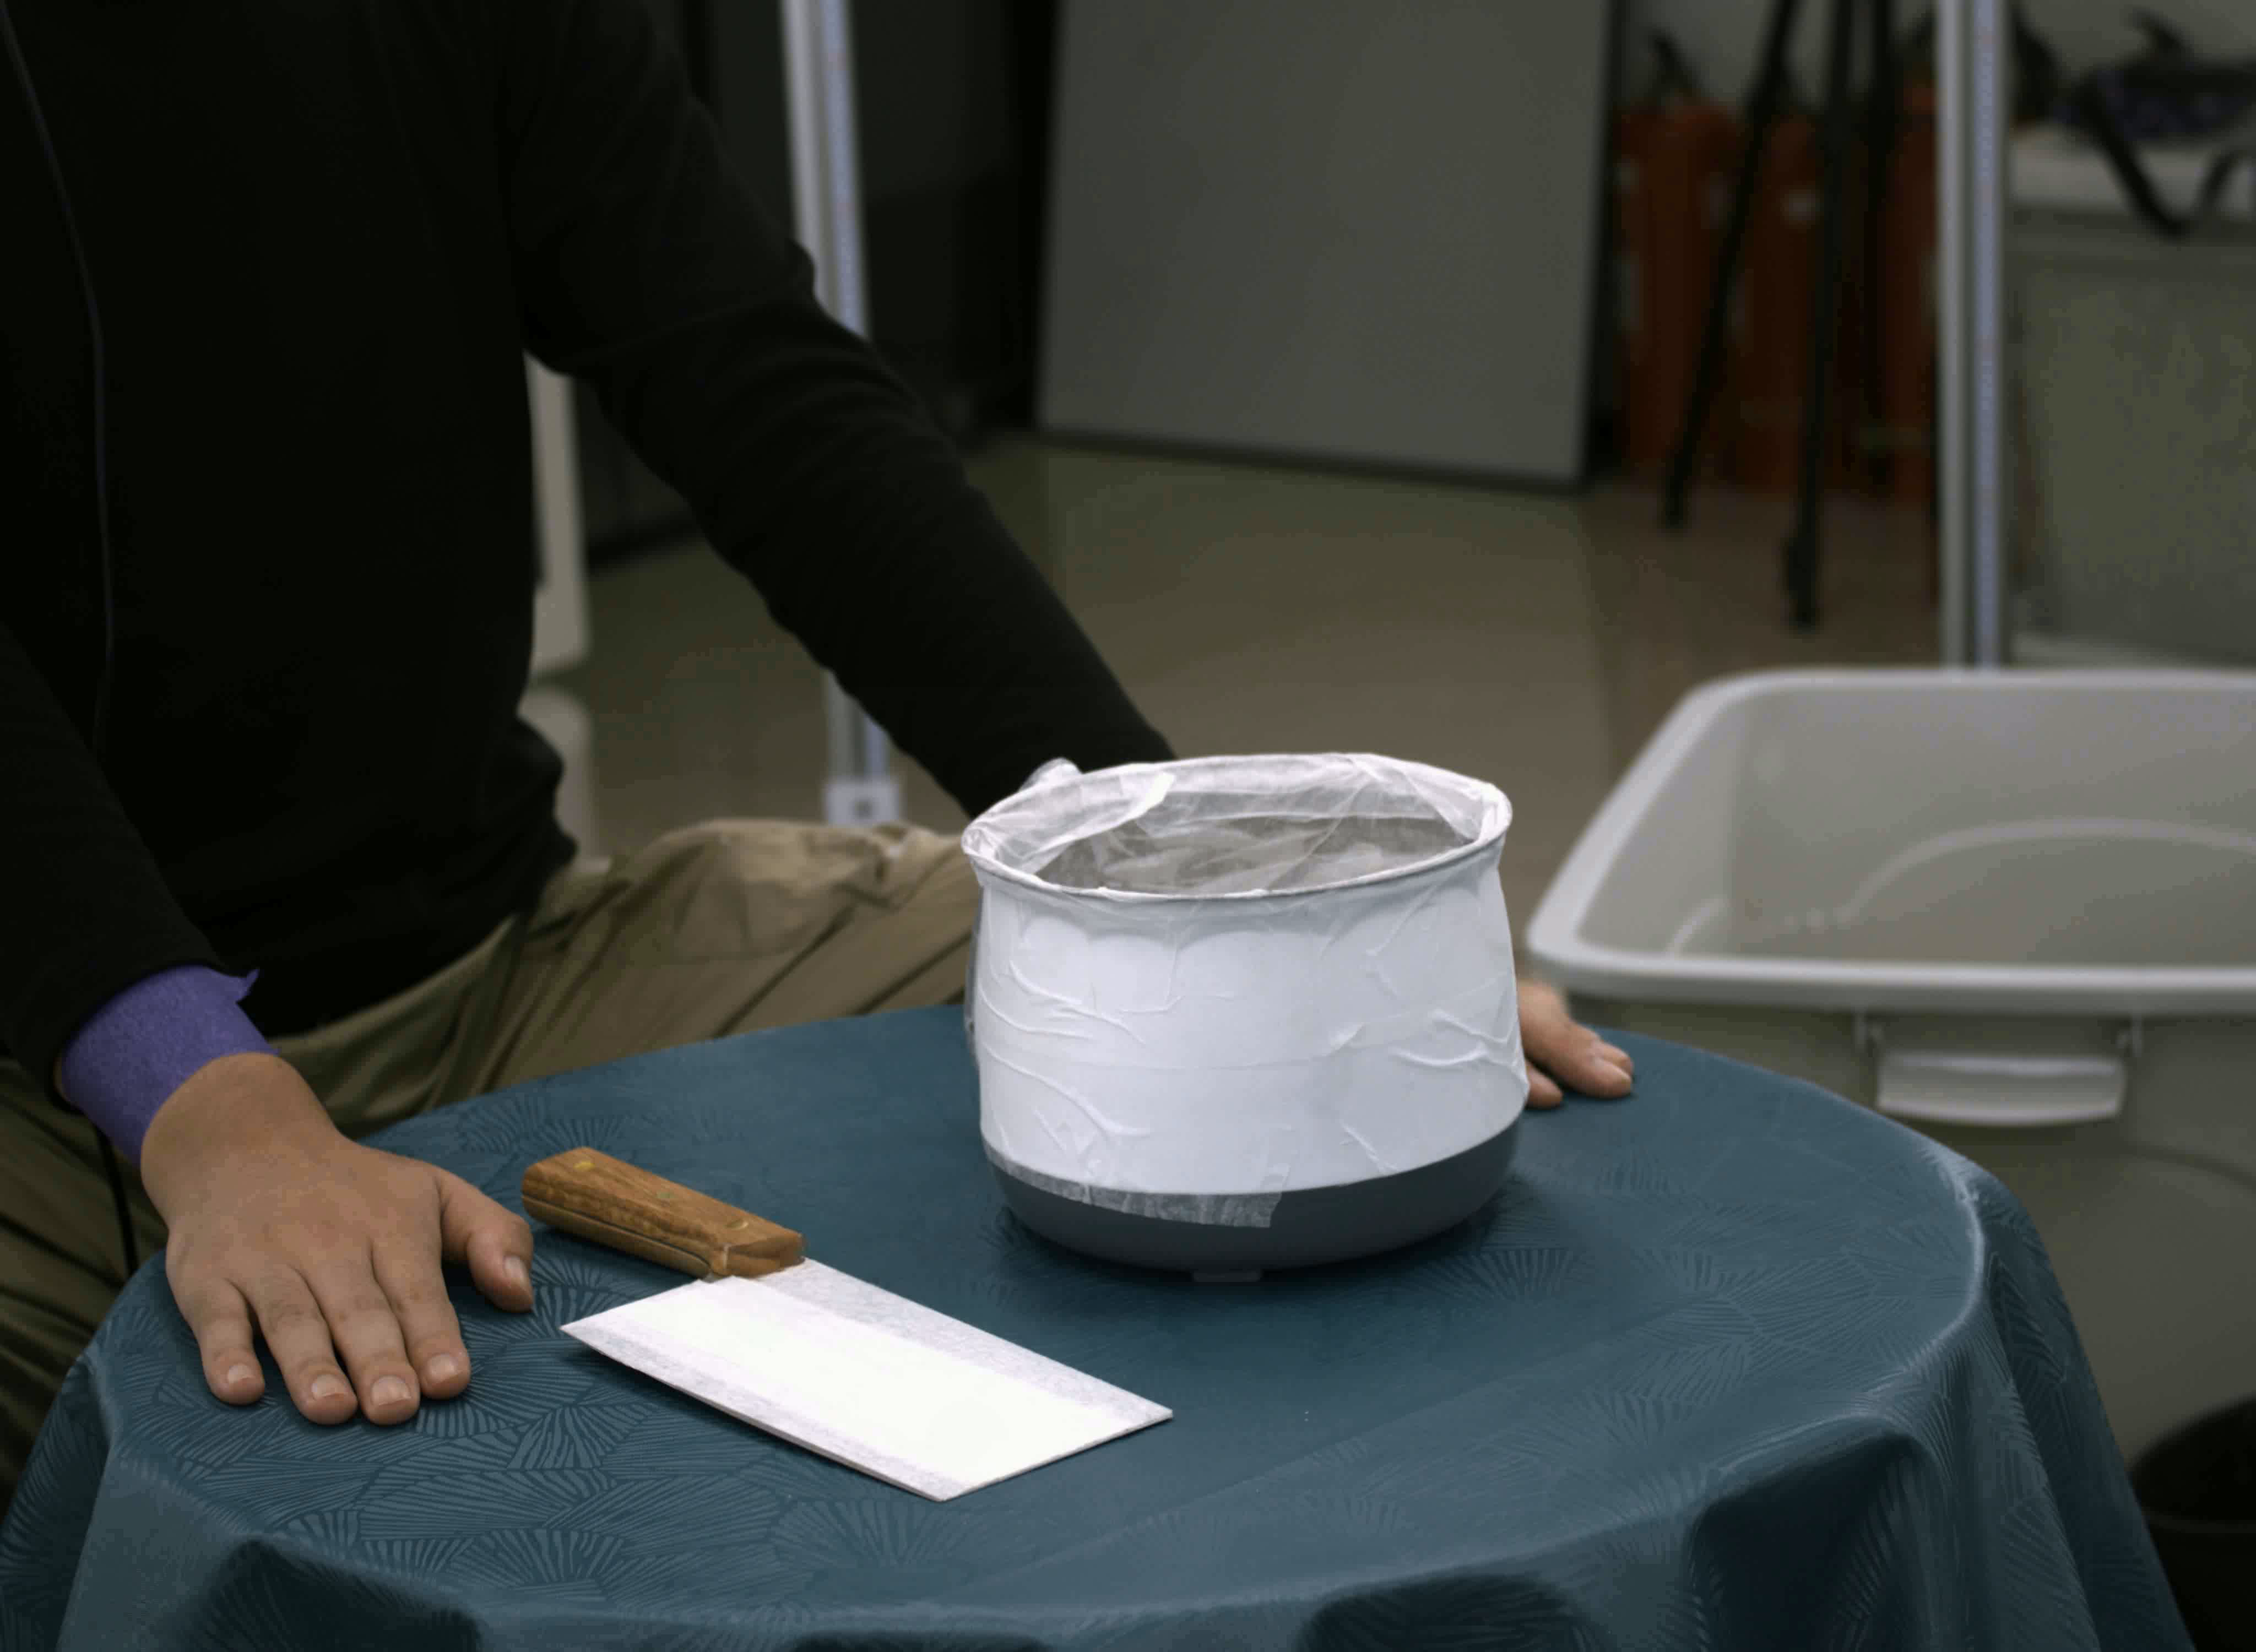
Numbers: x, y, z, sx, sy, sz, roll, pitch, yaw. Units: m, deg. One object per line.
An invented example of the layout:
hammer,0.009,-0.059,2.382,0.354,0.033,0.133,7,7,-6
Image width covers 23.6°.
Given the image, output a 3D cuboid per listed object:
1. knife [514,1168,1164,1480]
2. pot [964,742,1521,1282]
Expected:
knife,-0.114,0.153,1.653,0.091,0.021,0.309,-14,18,-37
pot,0.021,0.053,1.749,0.175,0.138,0.236,-13,17,-34
